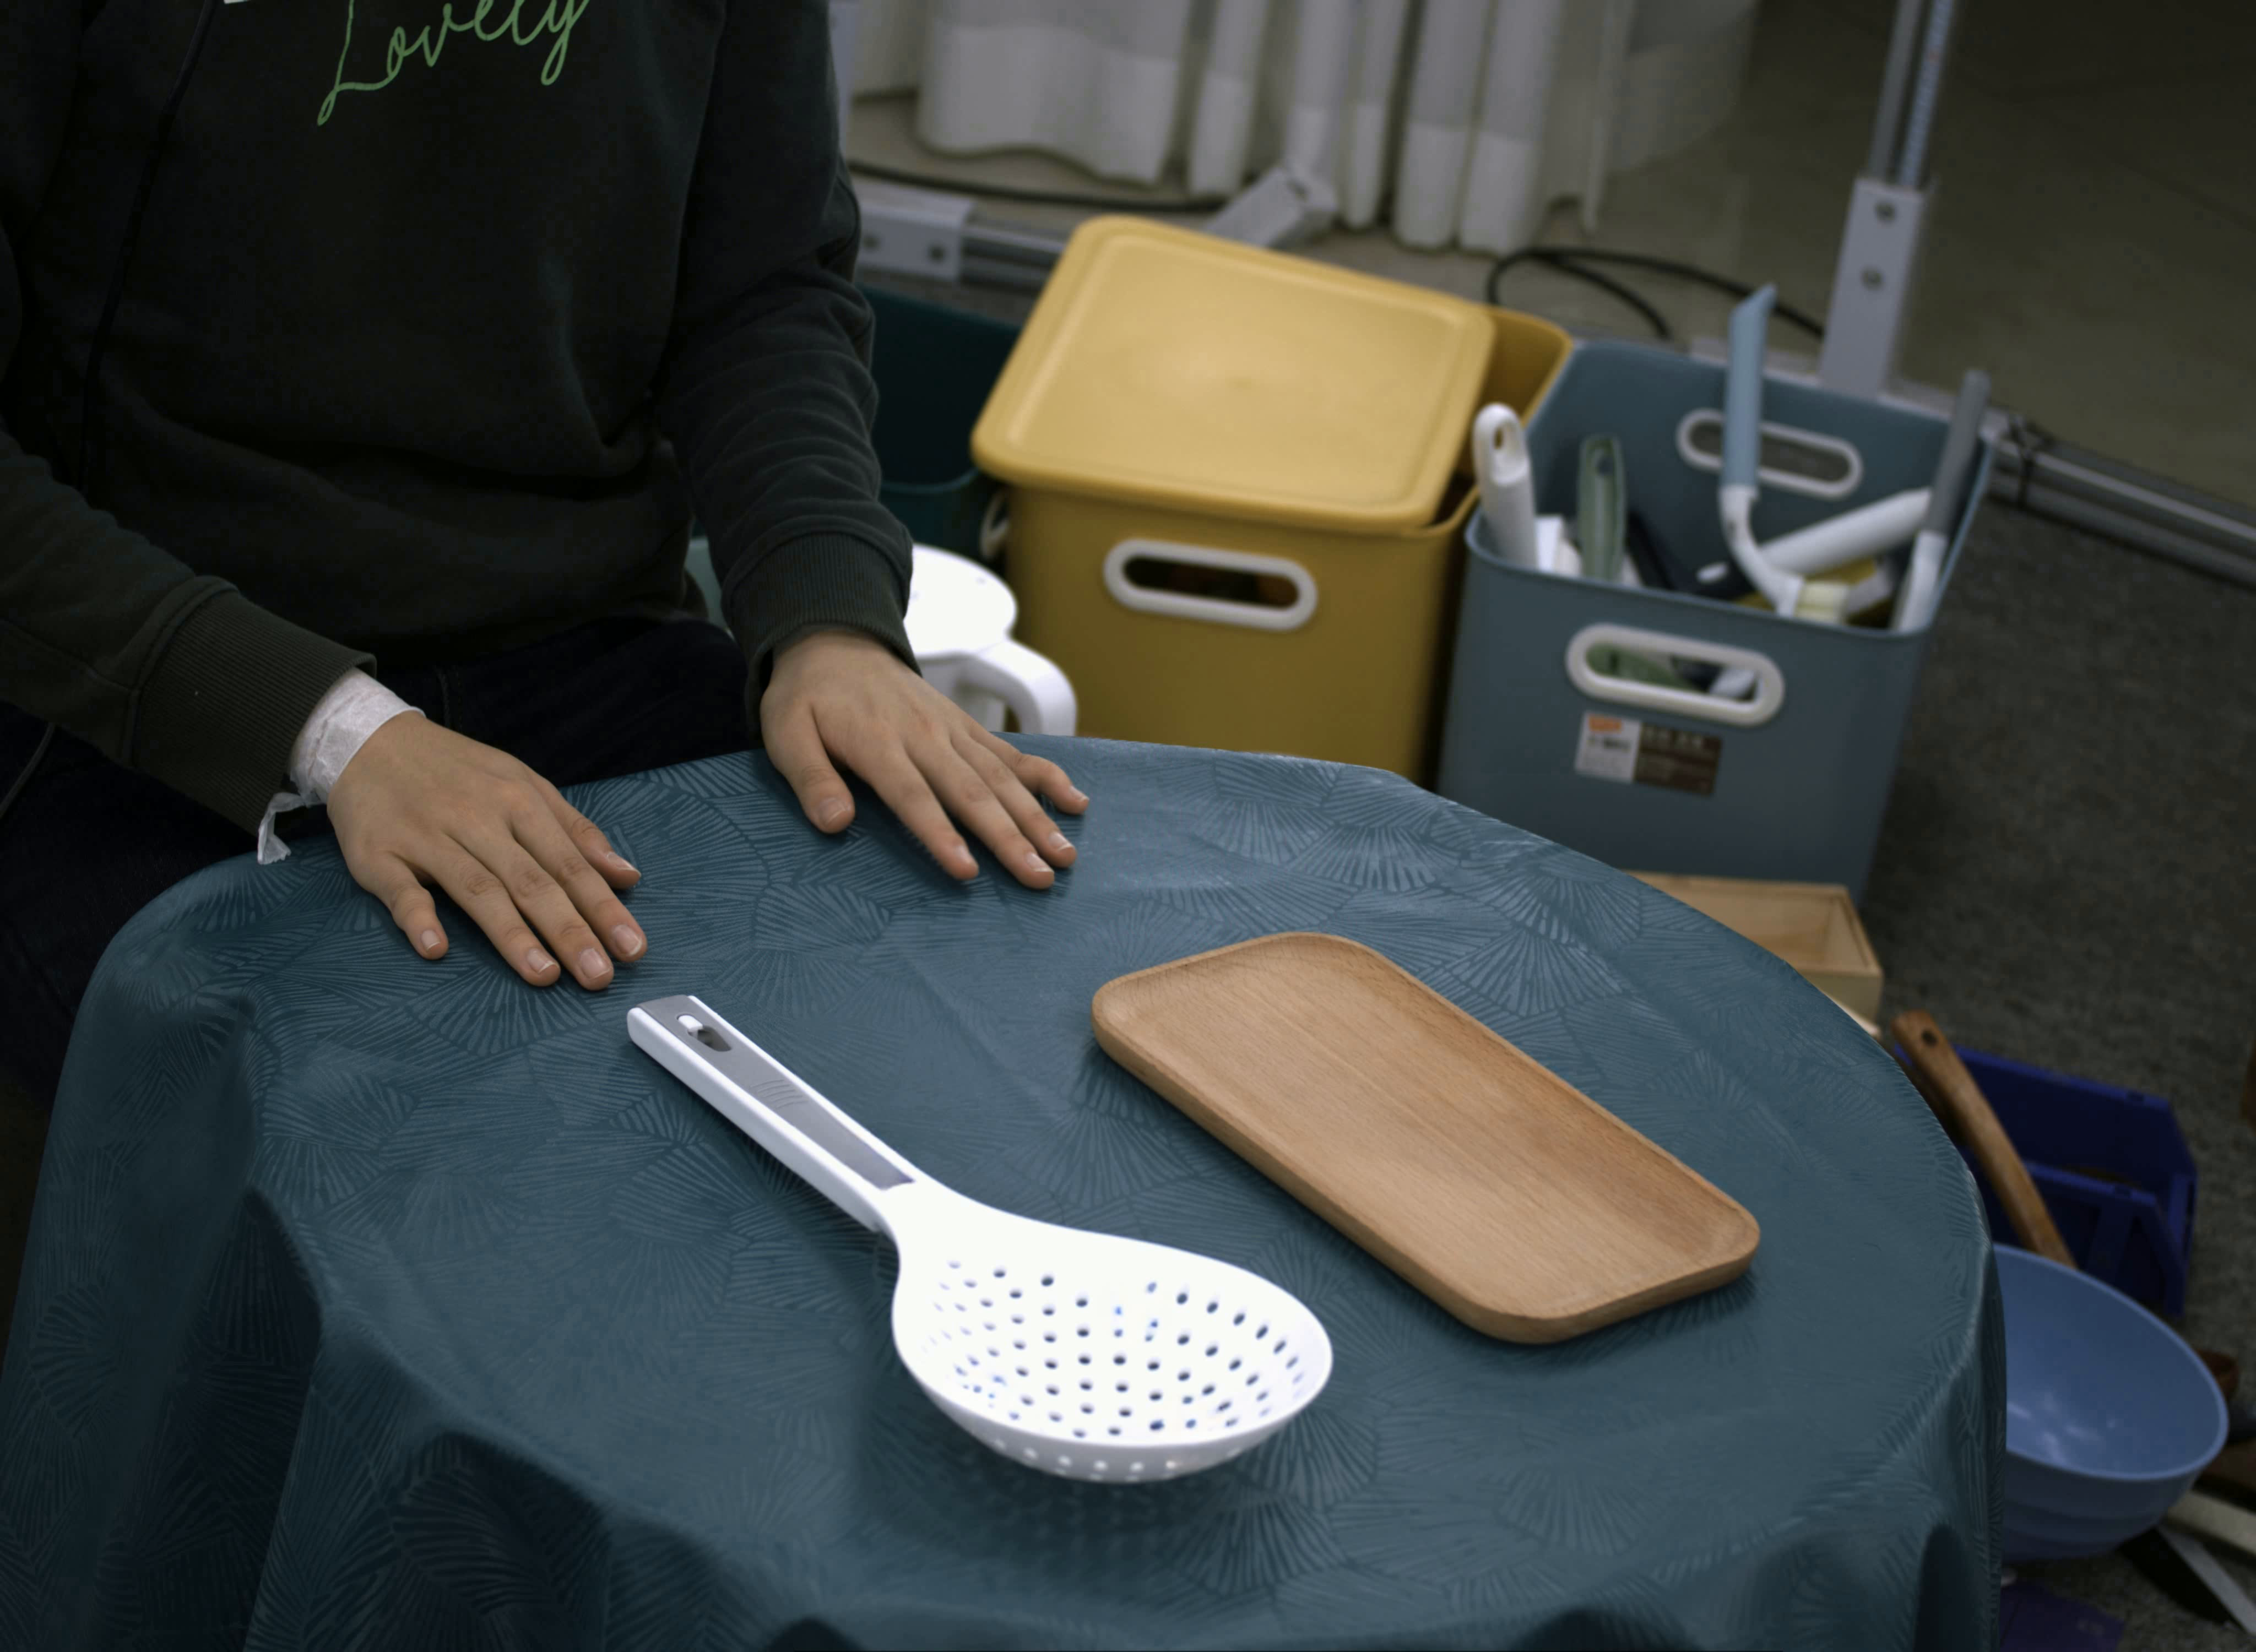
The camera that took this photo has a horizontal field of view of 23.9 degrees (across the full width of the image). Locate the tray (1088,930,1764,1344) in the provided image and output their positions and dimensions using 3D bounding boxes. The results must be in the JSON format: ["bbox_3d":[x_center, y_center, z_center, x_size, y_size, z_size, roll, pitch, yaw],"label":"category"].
[{"bbox_3d":[0.100,0.105,1.842,0.130,0.023,0.253,-12,31,-35],"label":"tray"}]

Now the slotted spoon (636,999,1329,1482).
[{"bbox_3d":[-0.066,0.128,1.726,0.135,0.045,0.353,-9,30,-33],"label":"slotted spoon"}]
